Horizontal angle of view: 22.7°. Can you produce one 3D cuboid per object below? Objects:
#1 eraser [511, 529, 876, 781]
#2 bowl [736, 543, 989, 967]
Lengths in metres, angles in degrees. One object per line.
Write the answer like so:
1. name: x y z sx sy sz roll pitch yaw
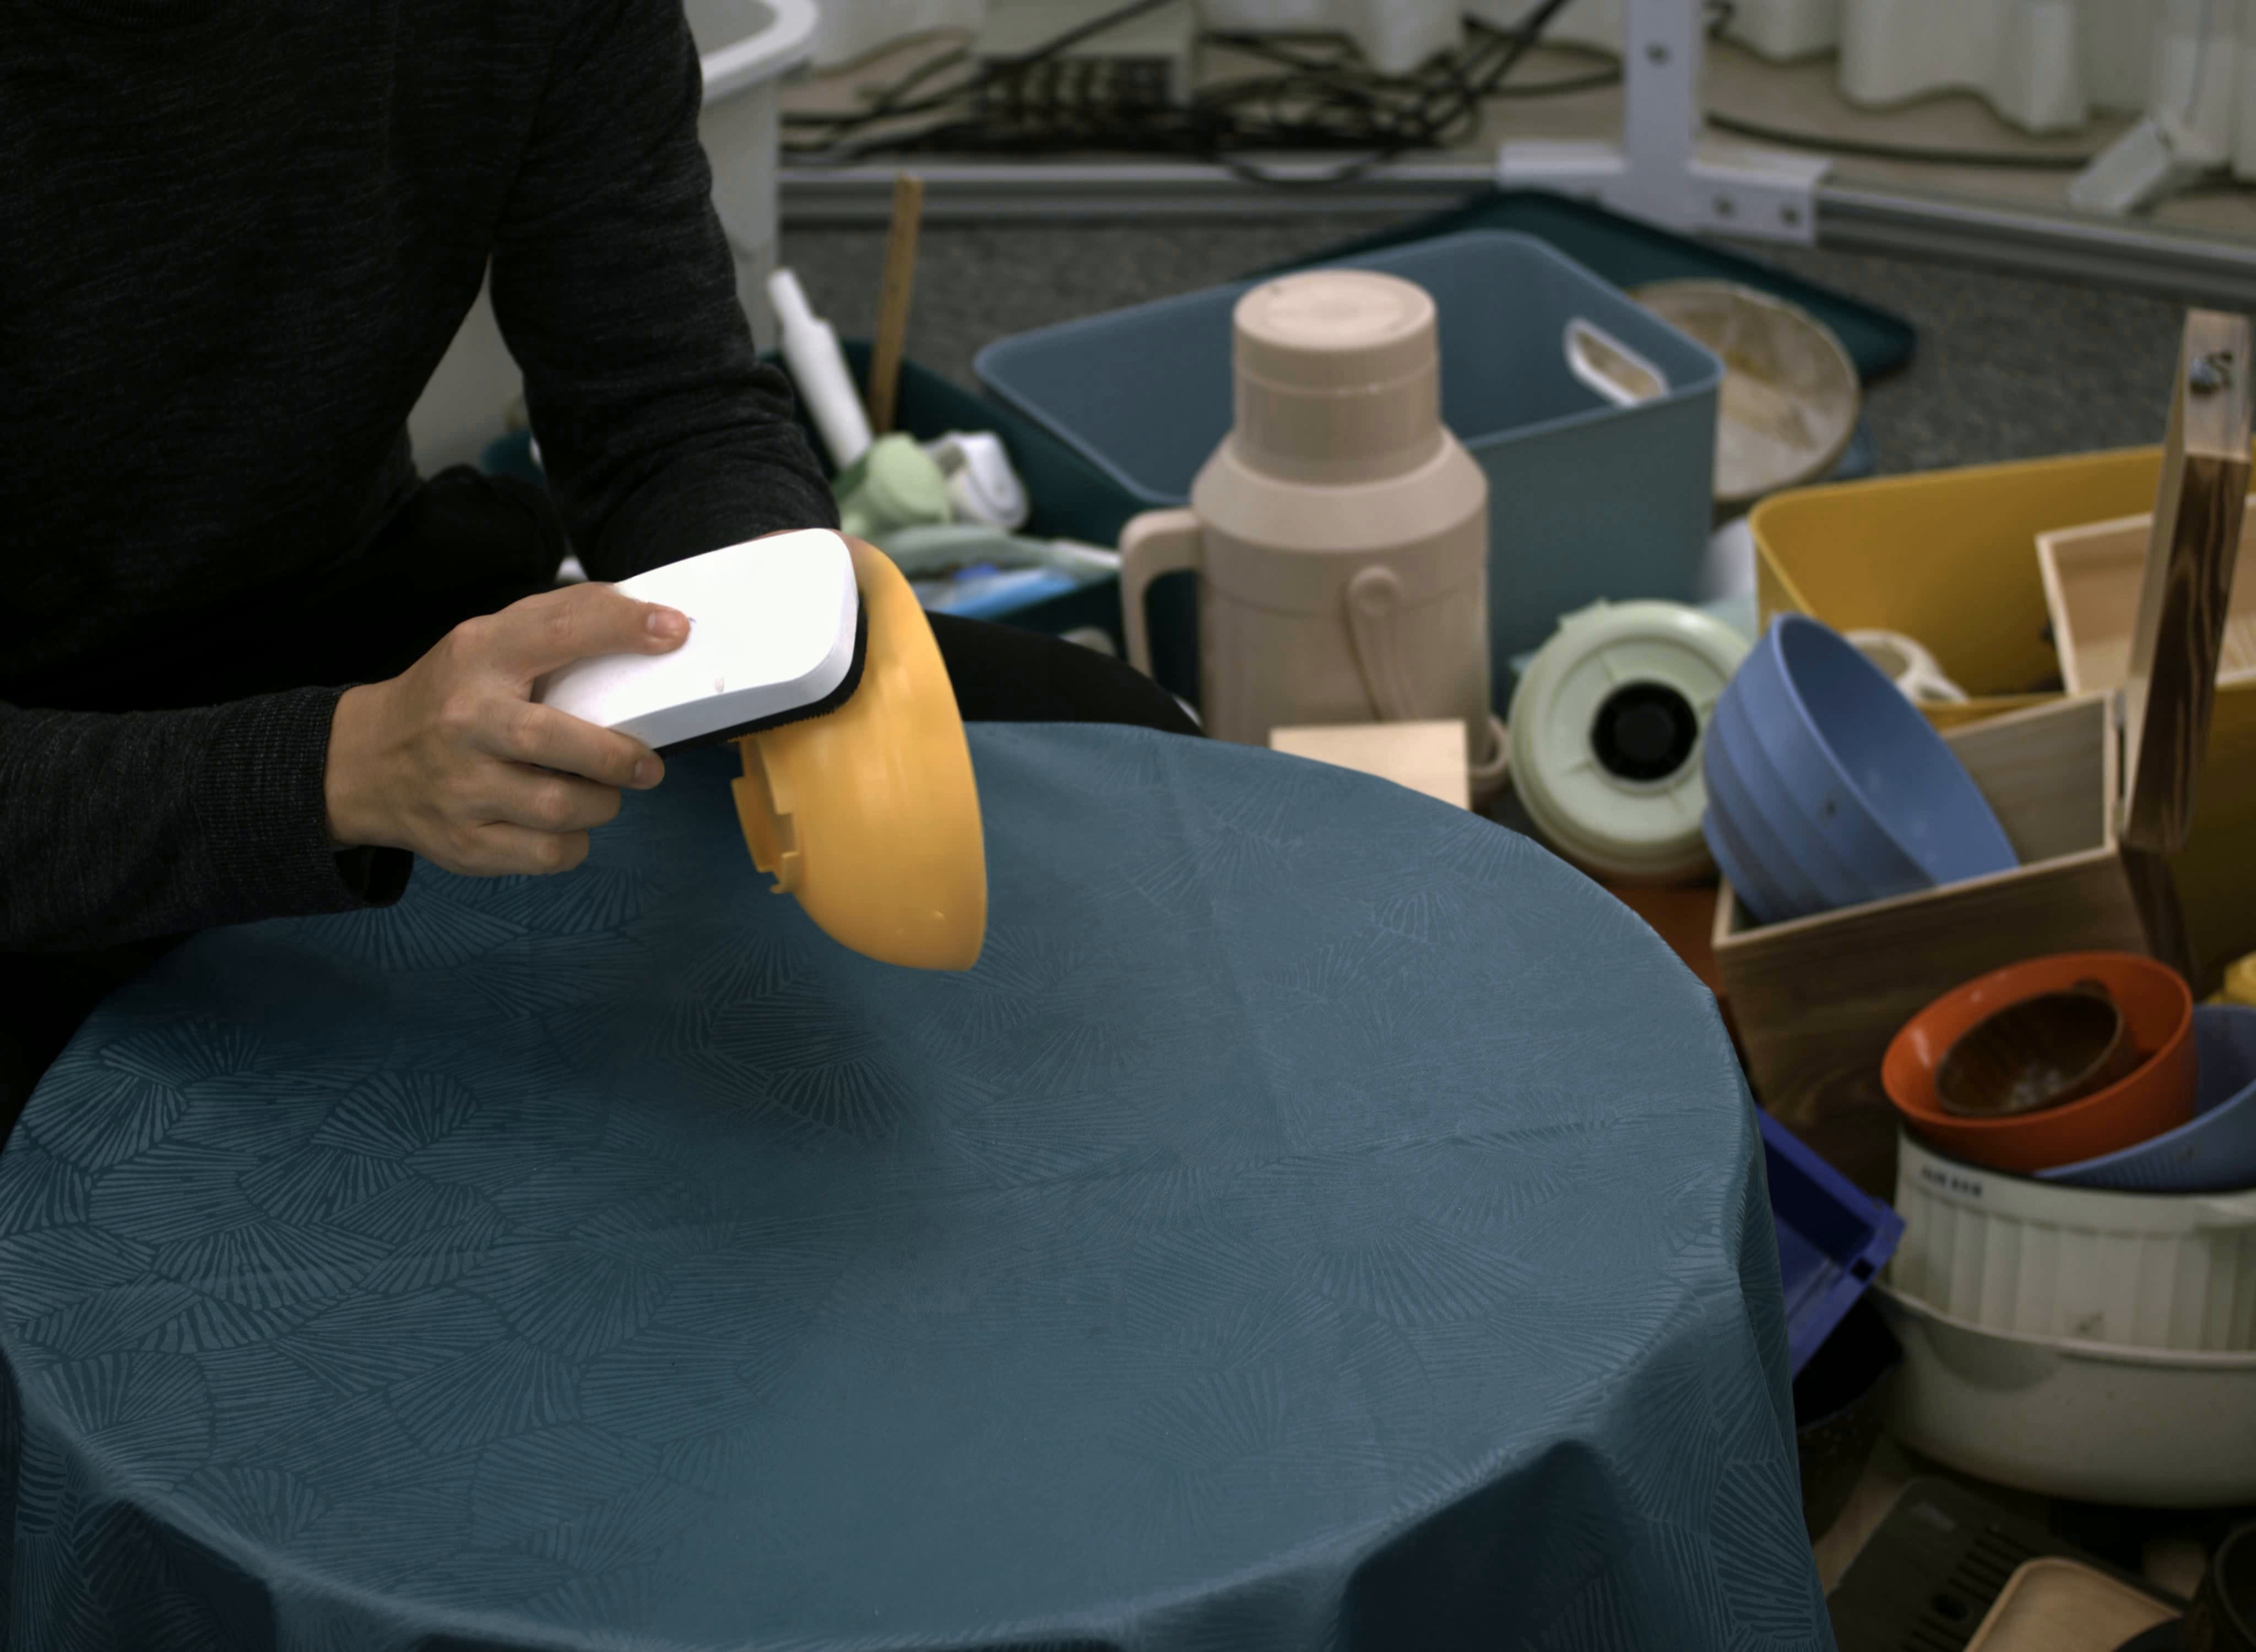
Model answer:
1. eraser: -0.144 -0.057 1.853 0.129 0.034 0.065 -14 49 28
2. bowl: -0.095 -0.018 1.880 0.060 0.144 0.146 -12 28 -15
